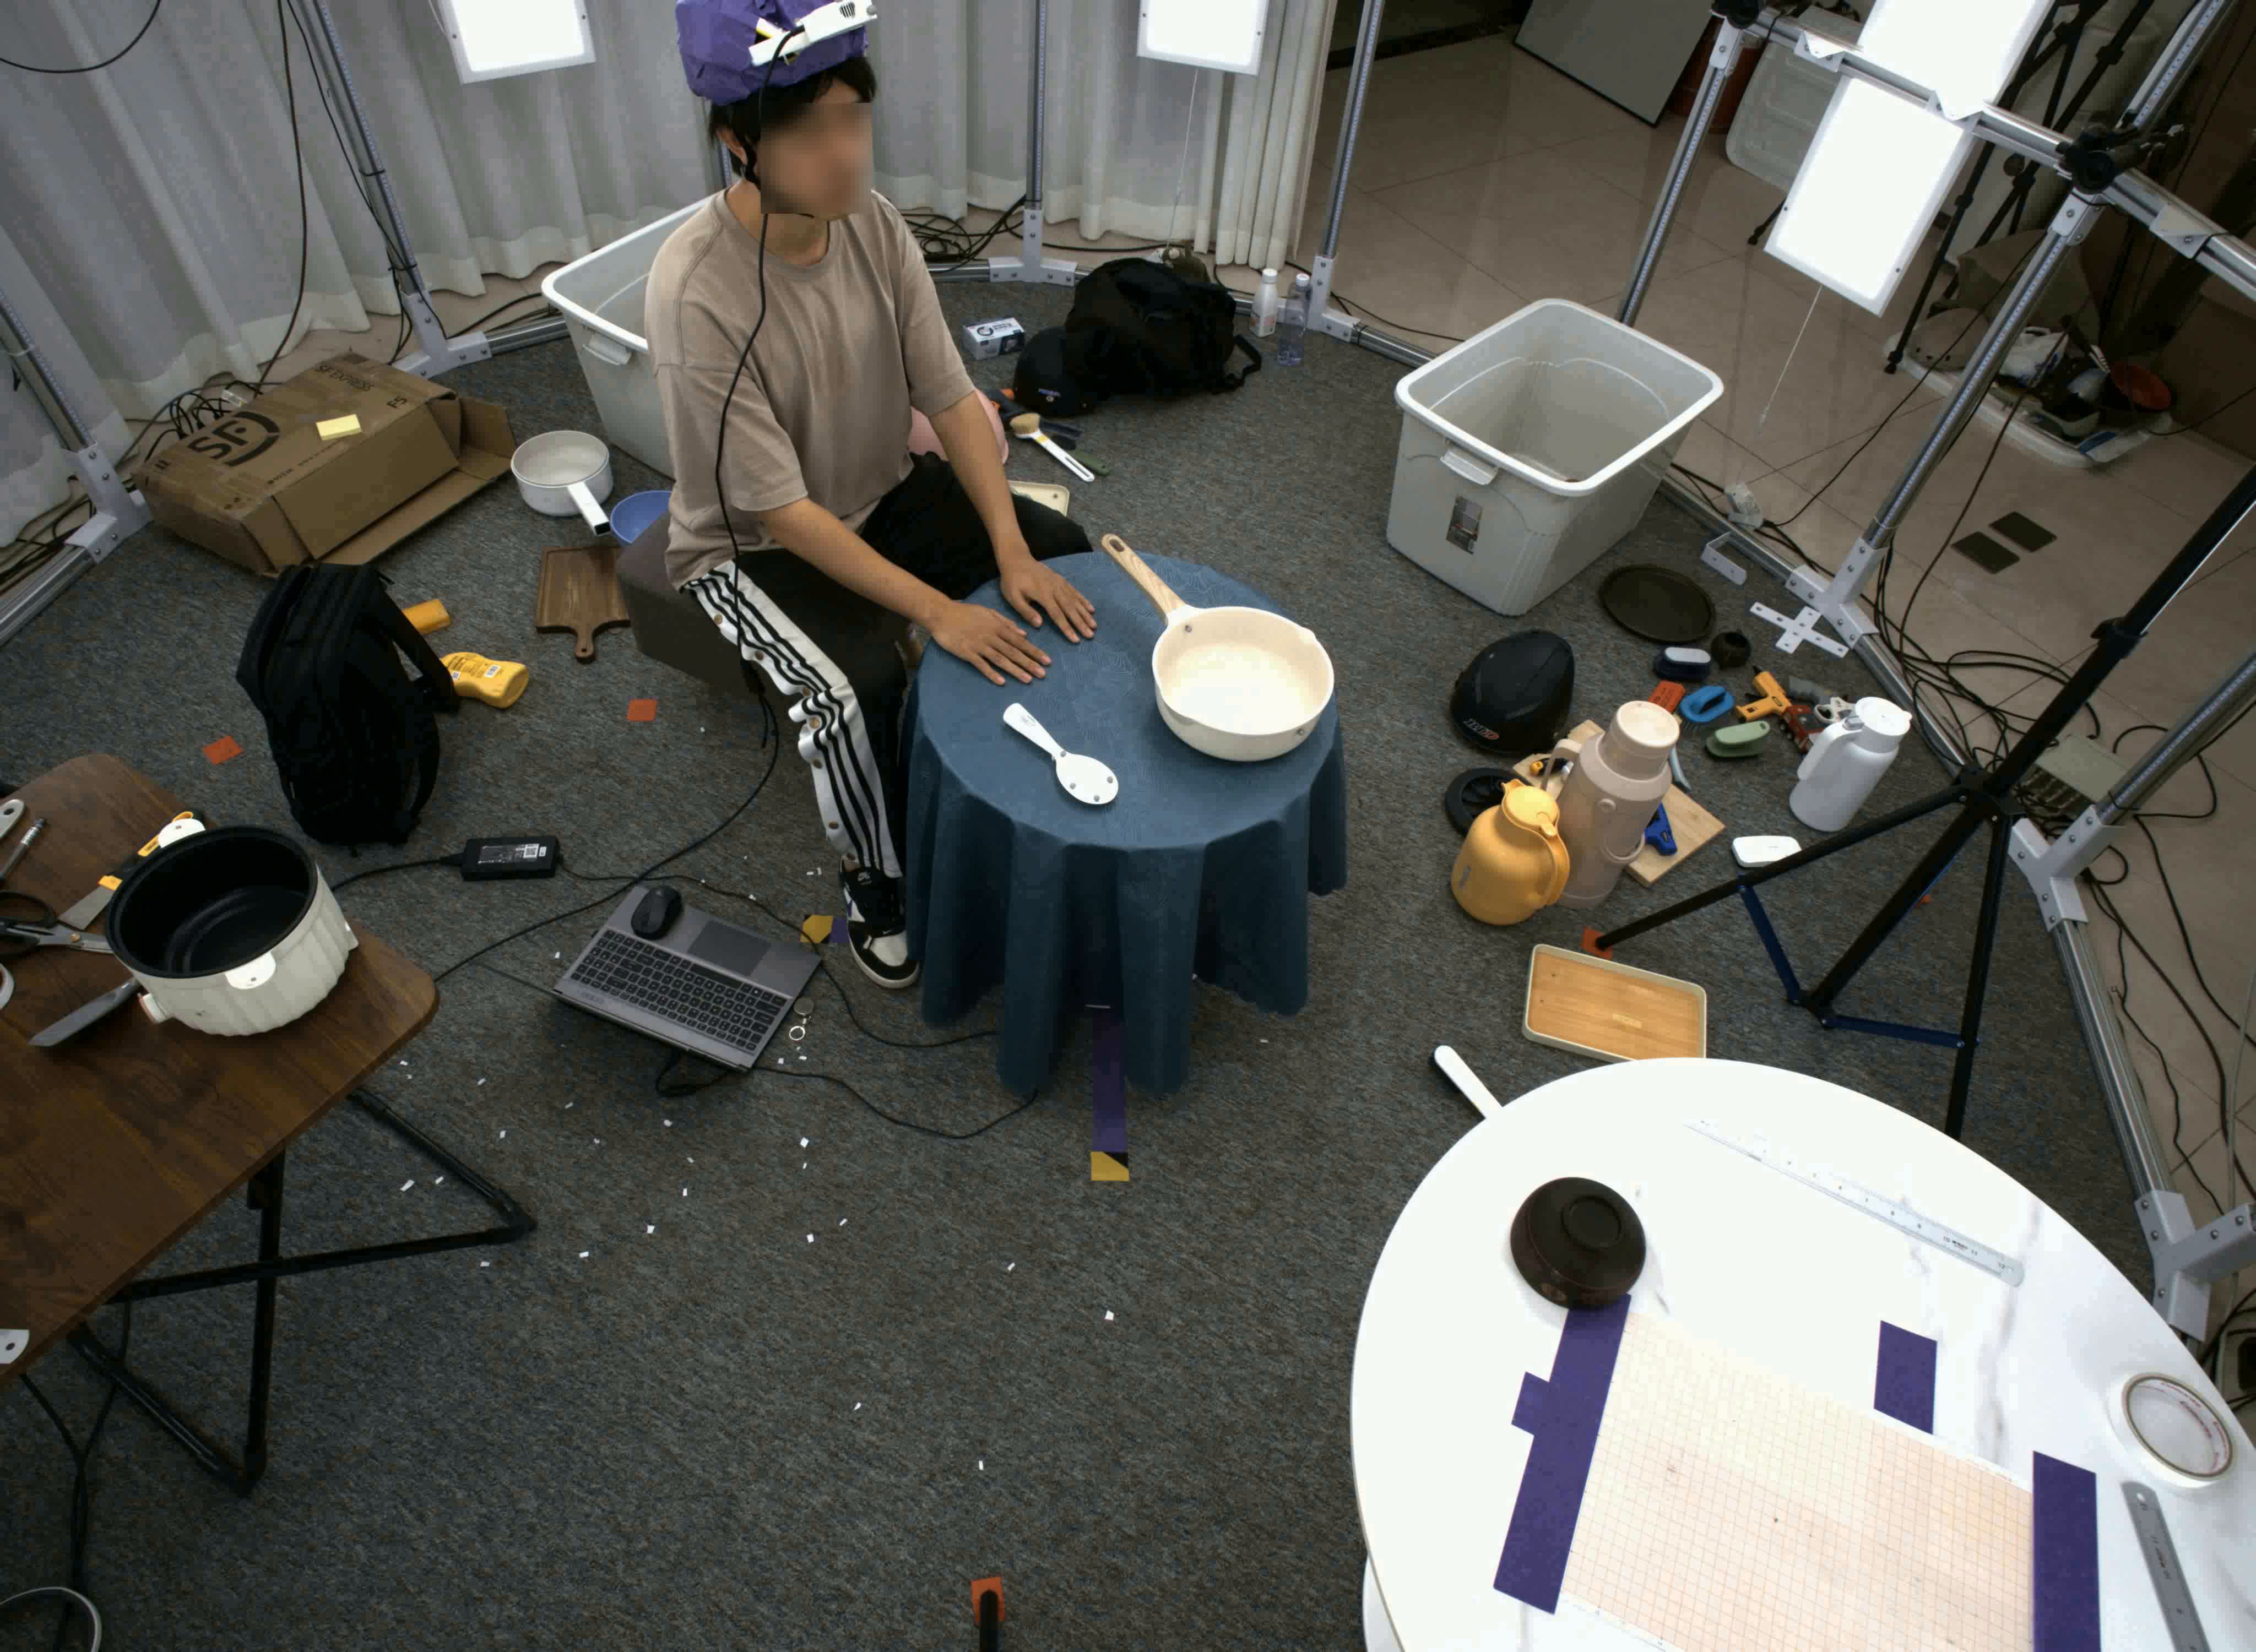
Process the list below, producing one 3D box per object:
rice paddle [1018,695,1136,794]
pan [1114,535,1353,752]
[{"bbox_3d":[-0.069,-0.109,1.719,0.069,0.029,0.208,-34,59,-28],"label":"rice paddle"},{"bbox_3d":[0.124,-0.266,1.836,0.265,0.099,0.442,-30,57,-26],"label":"pan"}]
